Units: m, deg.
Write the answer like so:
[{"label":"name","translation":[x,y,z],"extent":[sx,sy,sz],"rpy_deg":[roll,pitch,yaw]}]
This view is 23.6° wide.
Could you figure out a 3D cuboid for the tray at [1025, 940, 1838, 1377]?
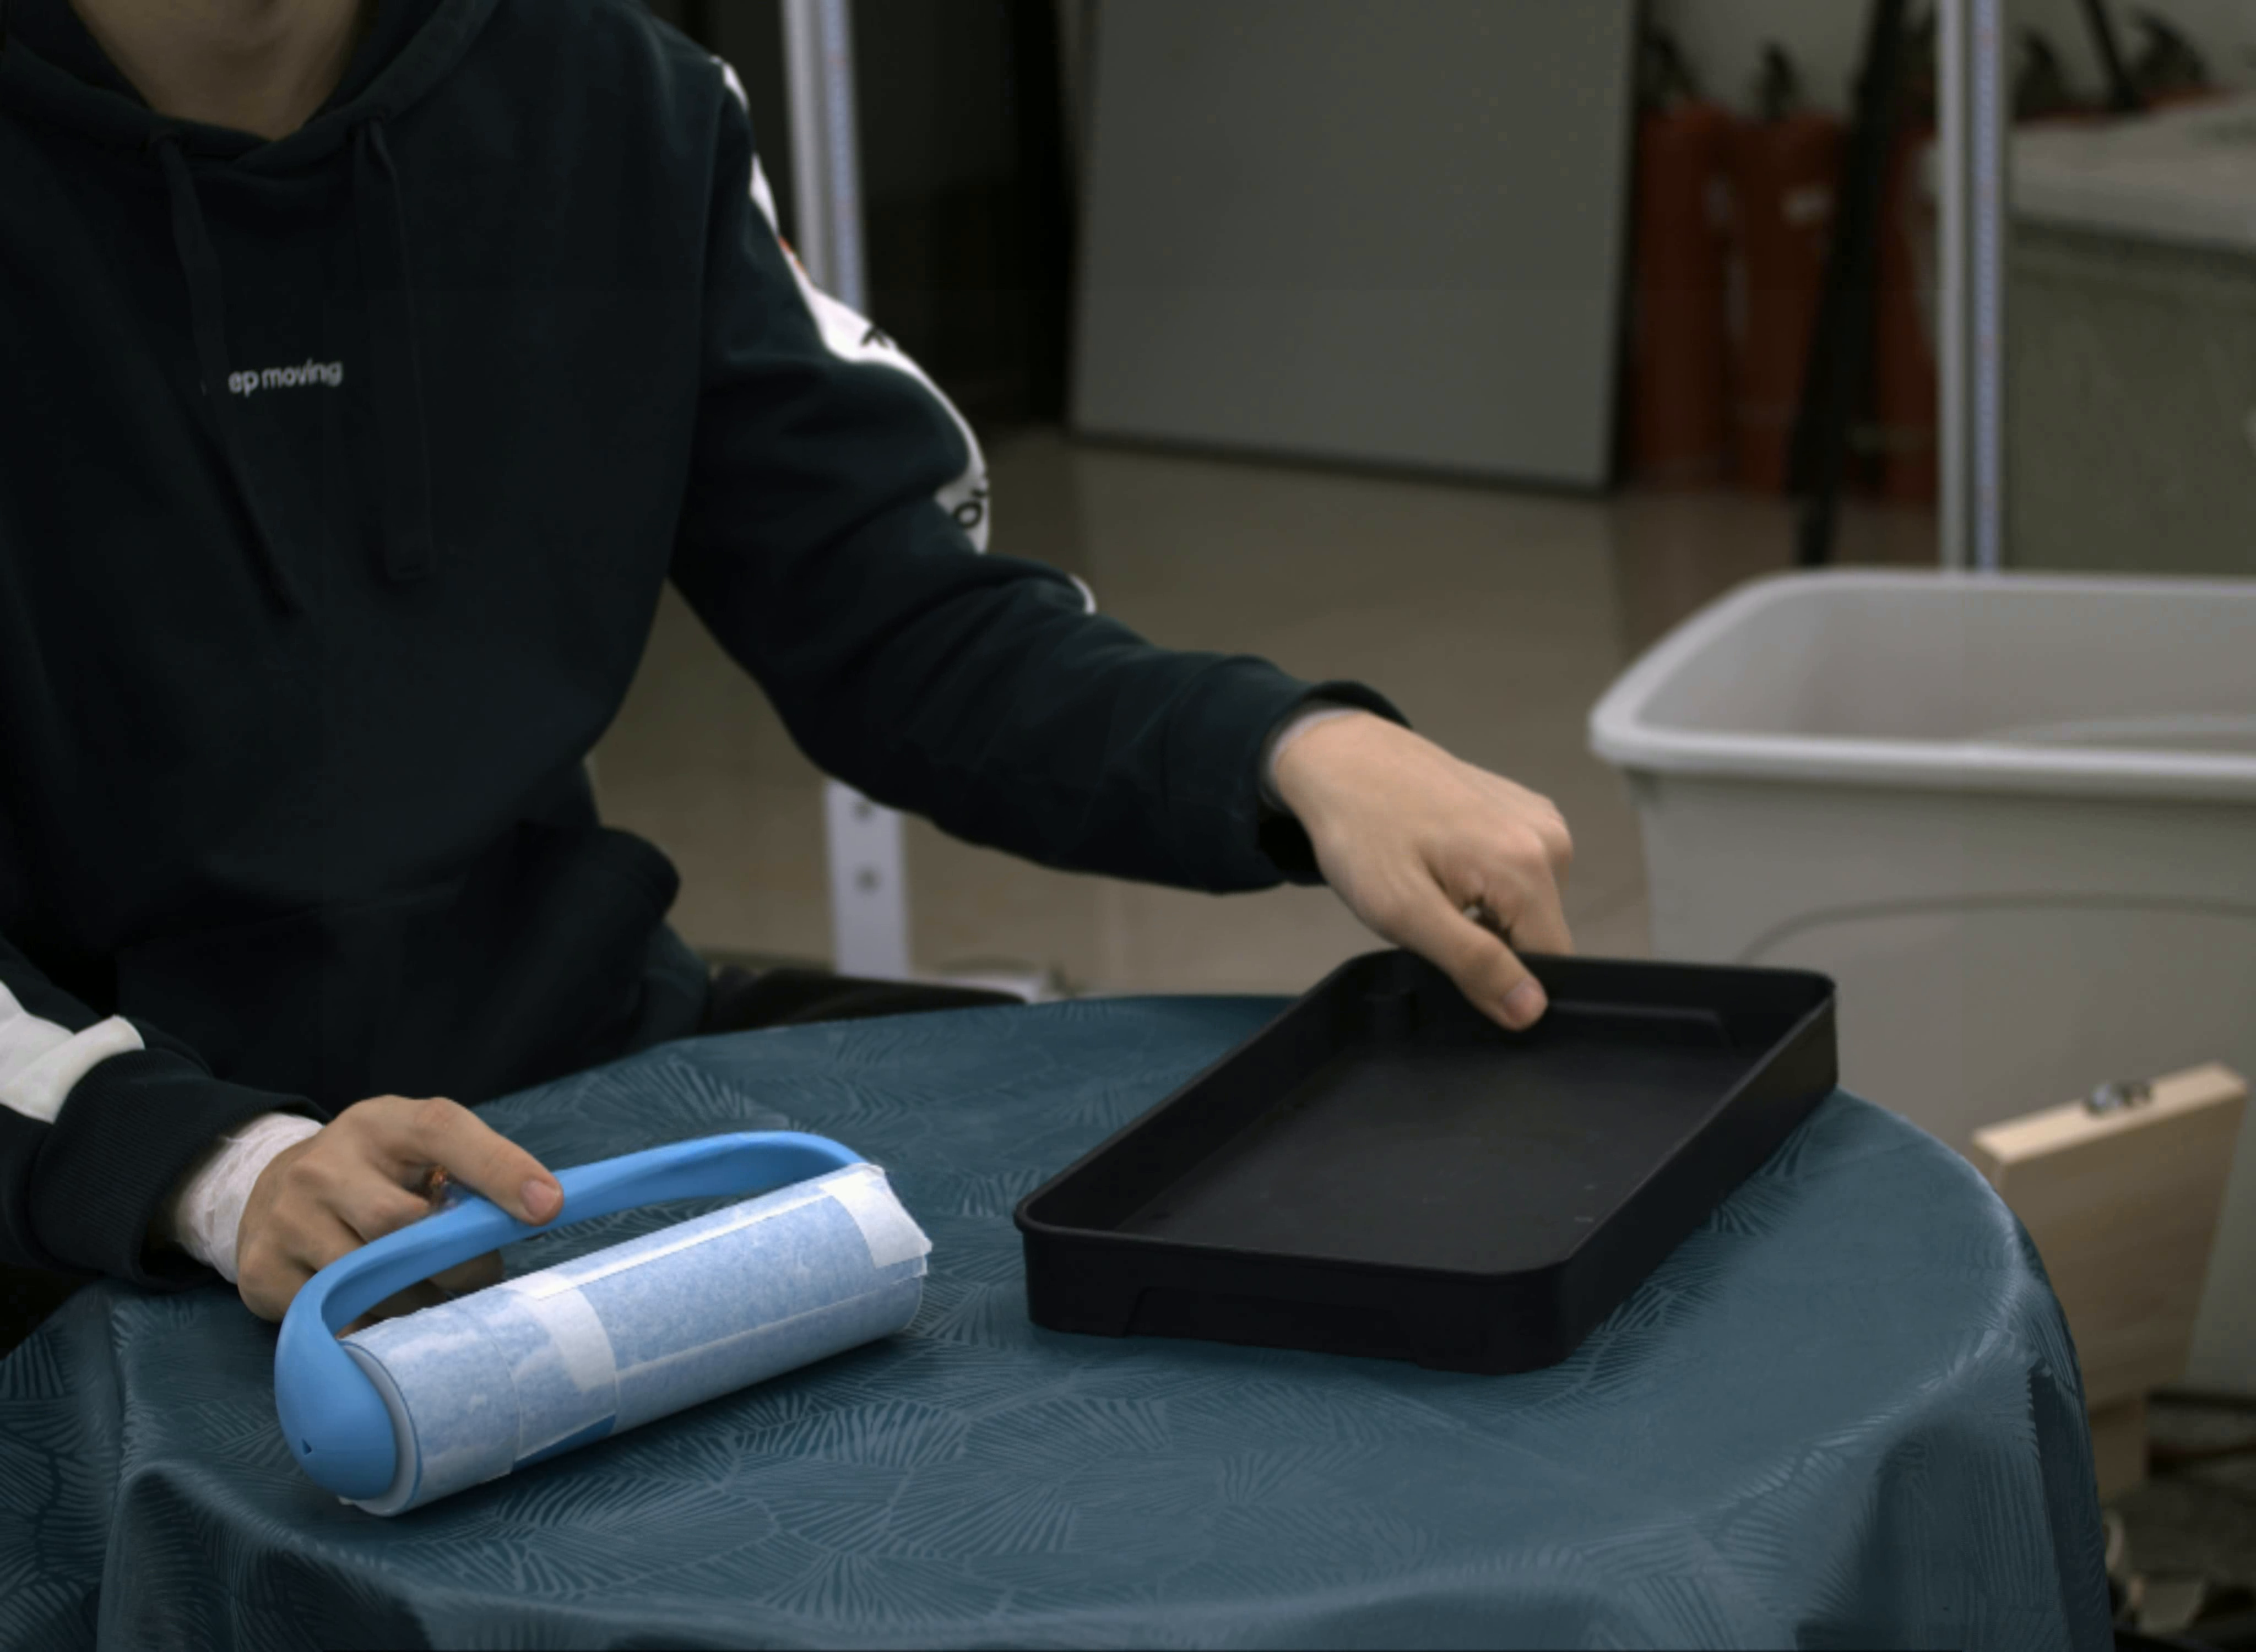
[{"label":"tray","translation":[0.107,0.101,1.744],"extent":[0.184,0.037,0.314],"rpy_deg":[1,16,24]}]

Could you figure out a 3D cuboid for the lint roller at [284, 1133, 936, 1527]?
[{"label":"lint roller","translation":[-0.188,0.141,1.626],"extent":[0.182,0.068,0.224],"rpy_deg":[11,22,44]}]
